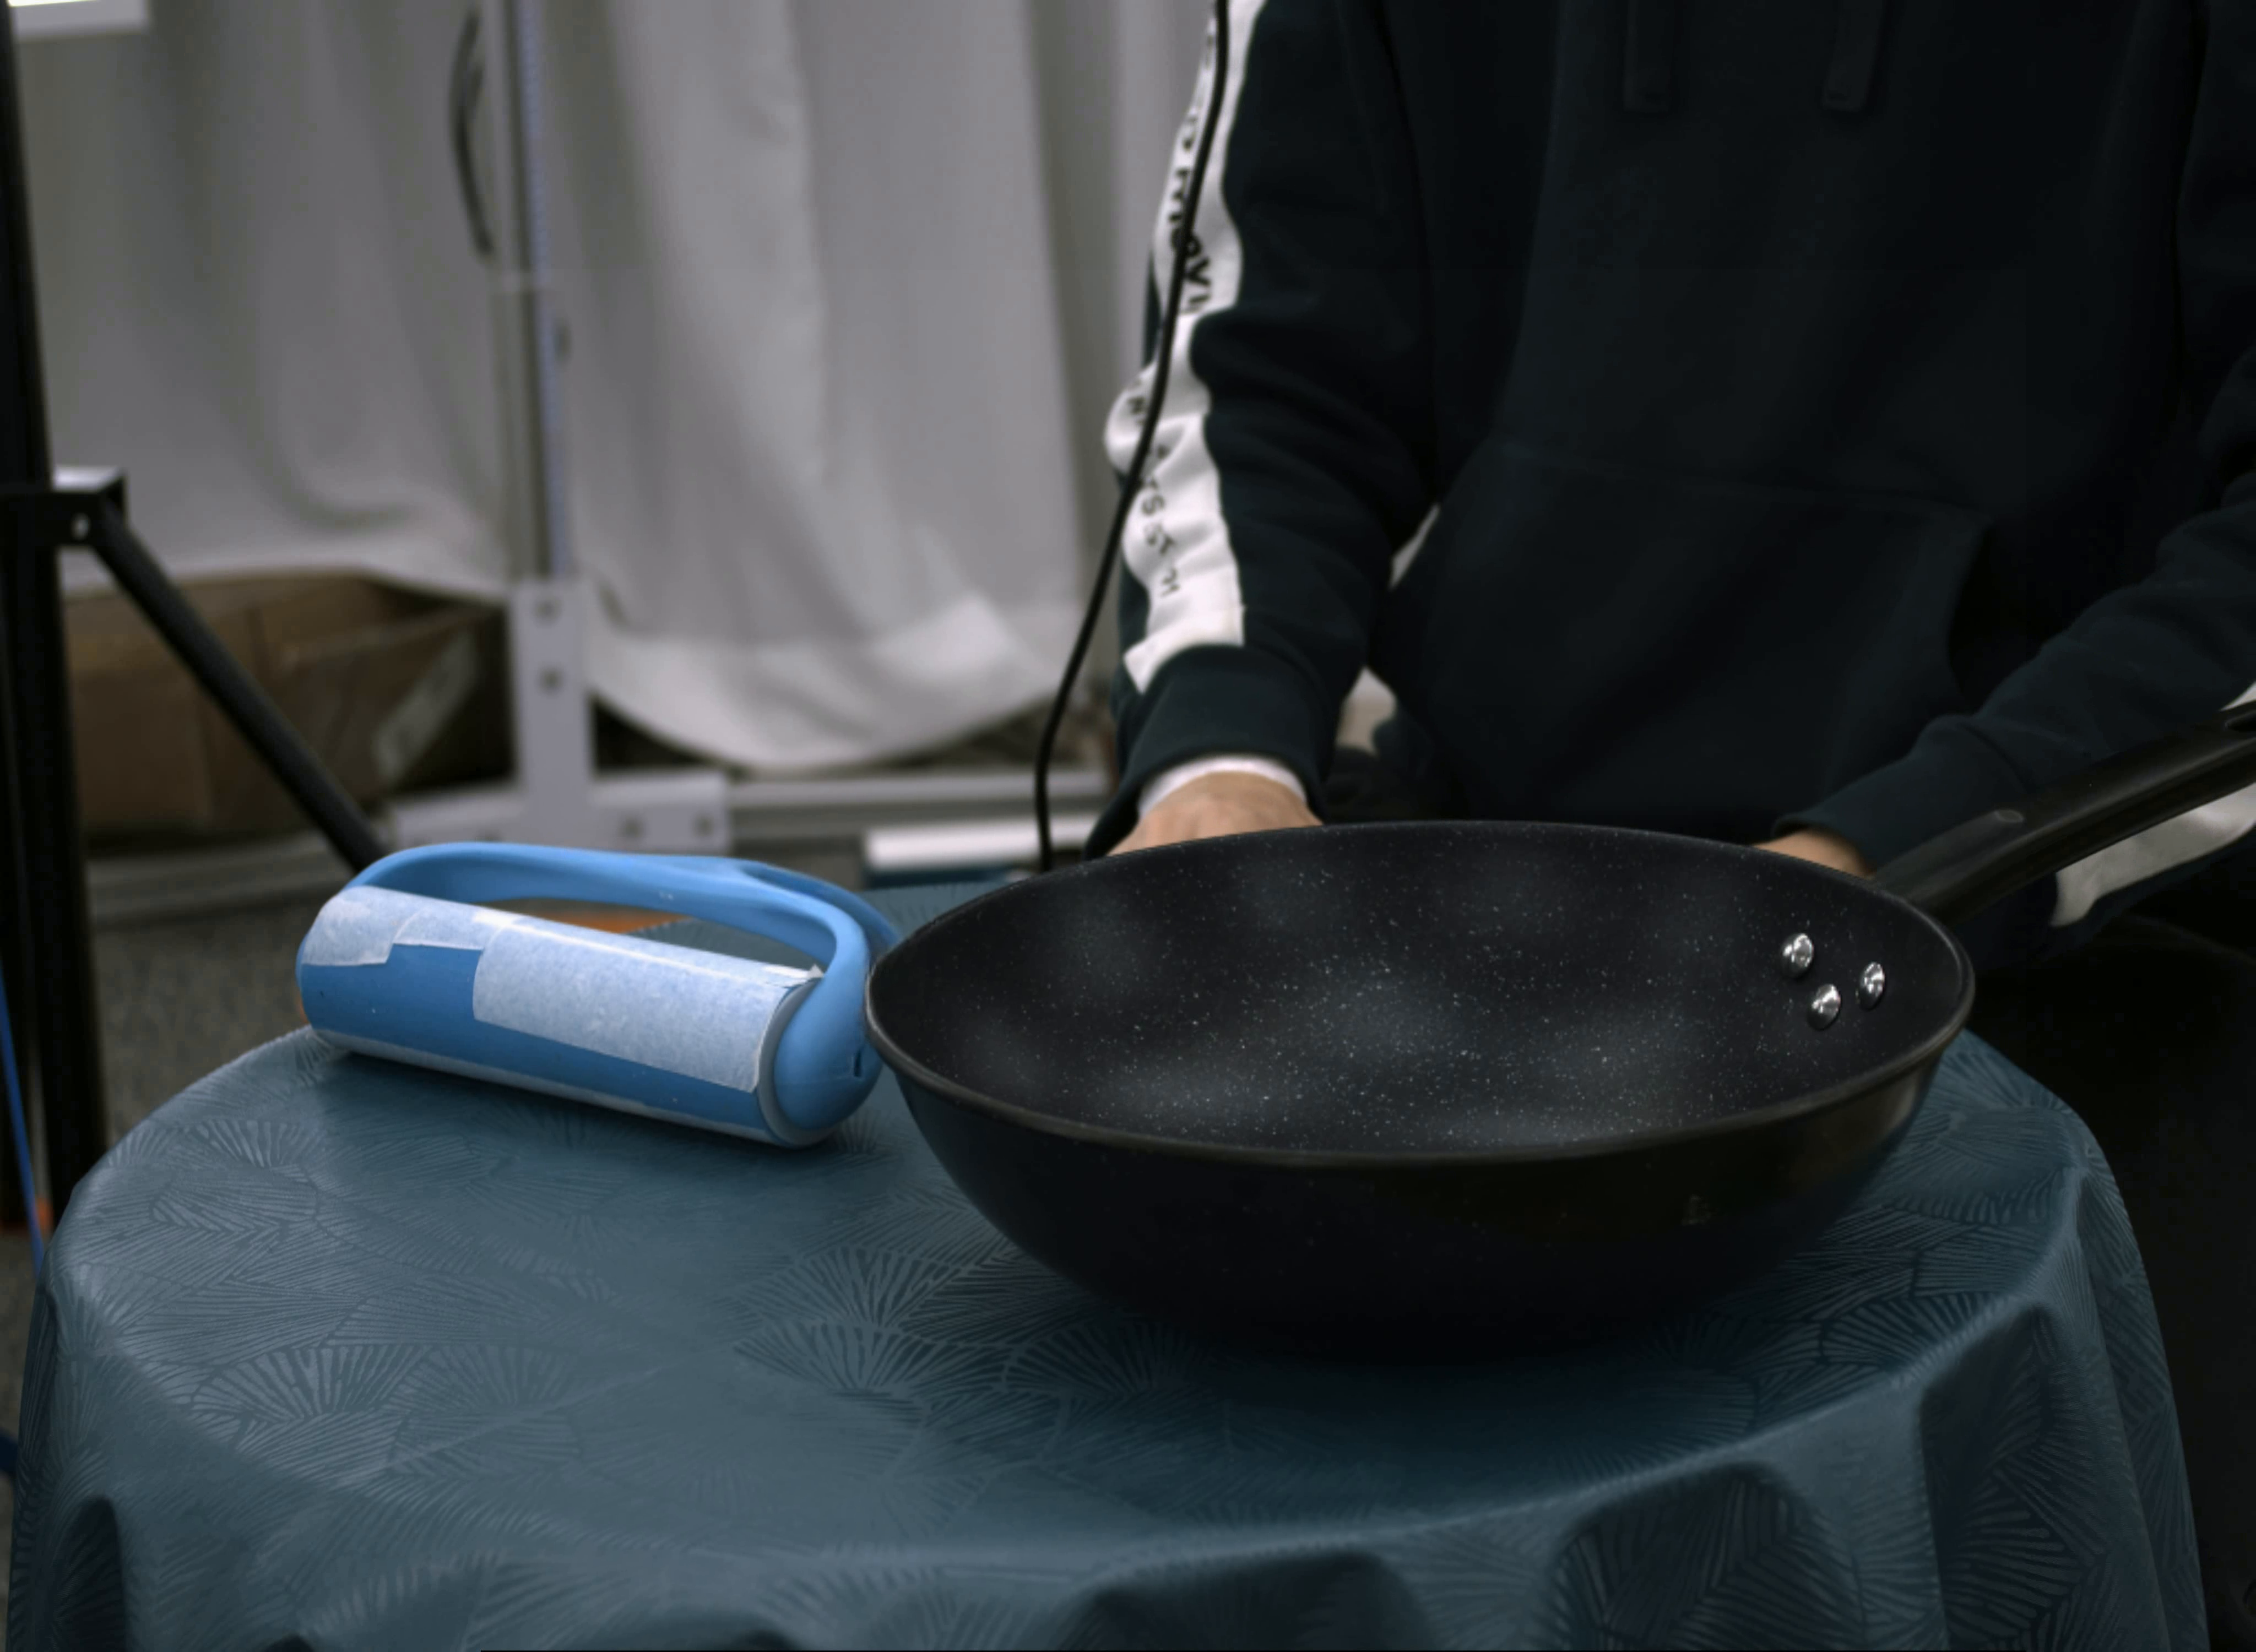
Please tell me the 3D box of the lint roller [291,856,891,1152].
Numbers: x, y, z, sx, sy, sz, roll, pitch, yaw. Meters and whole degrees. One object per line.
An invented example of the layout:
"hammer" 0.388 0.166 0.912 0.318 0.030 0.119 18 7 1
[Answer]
"lint roller" -0.139 0.044 1.707 0.233 0.068 0.177 5 19 34

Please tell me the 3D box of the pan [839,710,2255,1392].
"pan" 0.148 0.060 1.508 0.467 0.111 0.317 -11 19 -26
